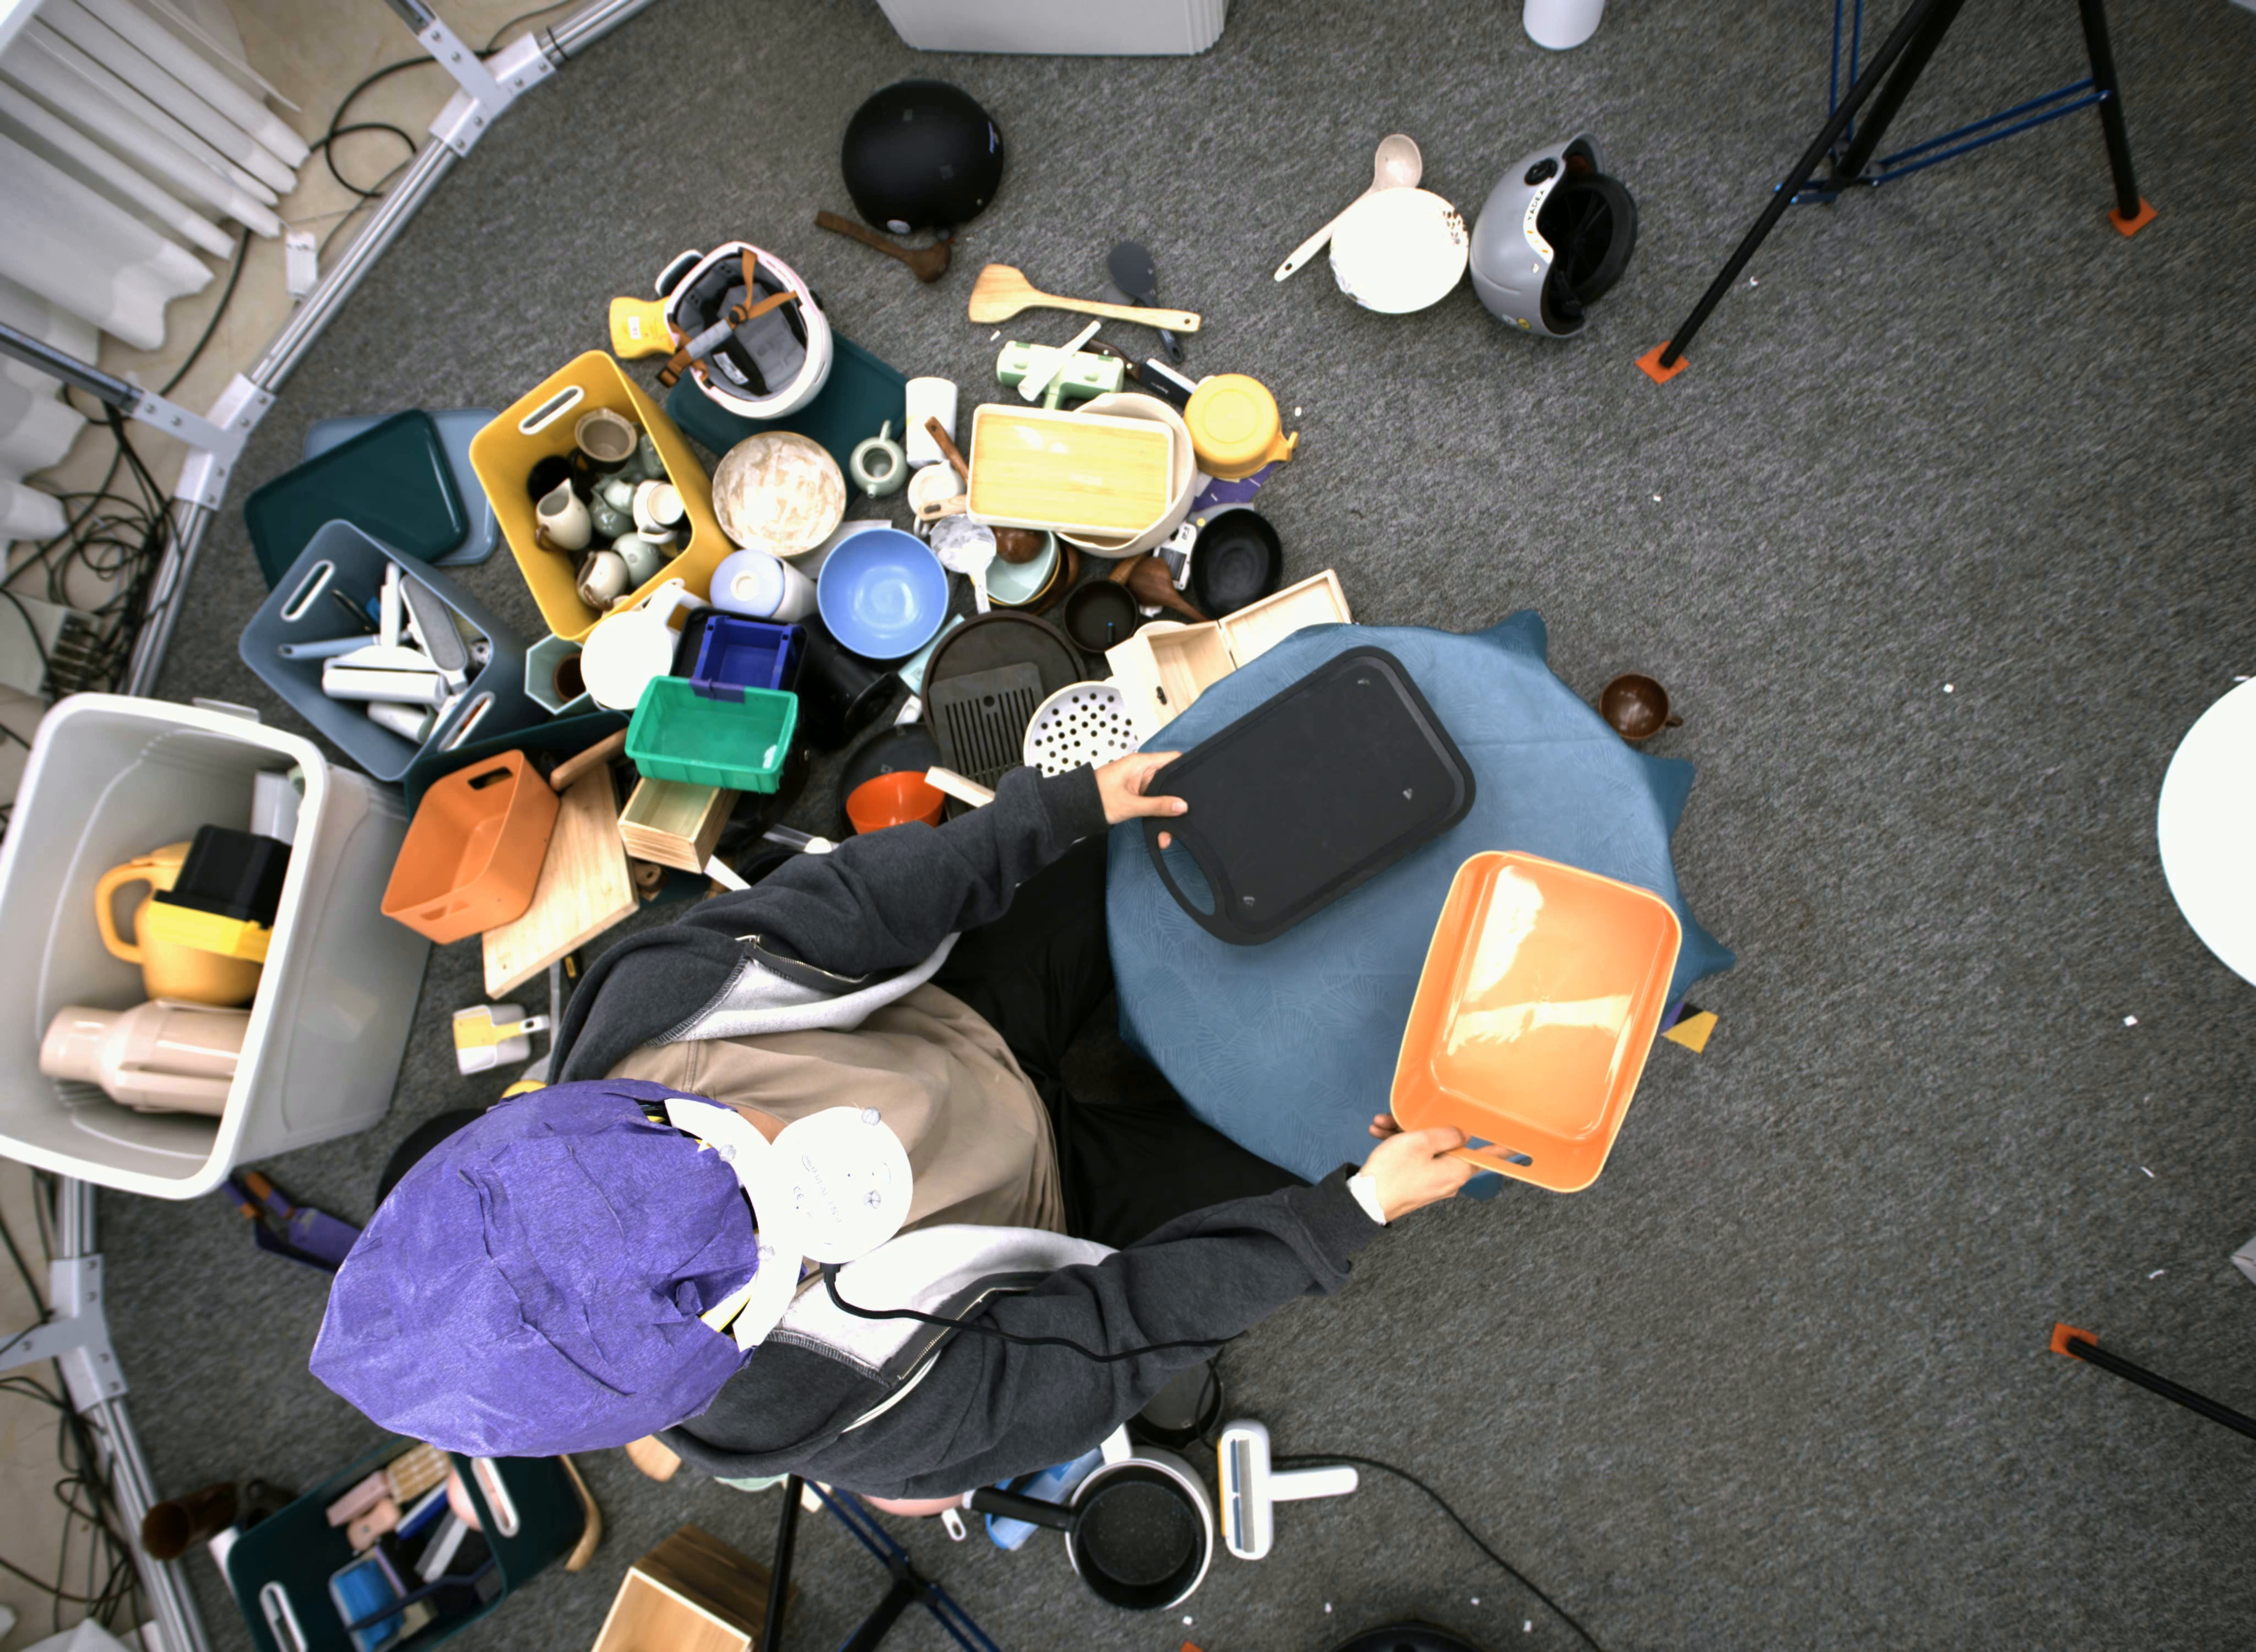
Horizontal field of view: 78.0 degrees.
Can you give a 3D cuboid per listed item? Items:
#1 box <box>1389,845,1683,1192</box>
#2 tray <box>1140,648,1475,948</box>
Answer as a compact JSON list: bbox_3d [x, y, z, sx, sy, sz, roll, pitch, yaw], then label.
[{"bbox_3d":[0.356,0.155,1.202,0.199,0.101,0.276,19,105,21],"label":"box"},{"bbox_3d":[0.174,-0.025,1.398,0.327,0.010,0.210,-33,85,7],"label":"tray"}]
